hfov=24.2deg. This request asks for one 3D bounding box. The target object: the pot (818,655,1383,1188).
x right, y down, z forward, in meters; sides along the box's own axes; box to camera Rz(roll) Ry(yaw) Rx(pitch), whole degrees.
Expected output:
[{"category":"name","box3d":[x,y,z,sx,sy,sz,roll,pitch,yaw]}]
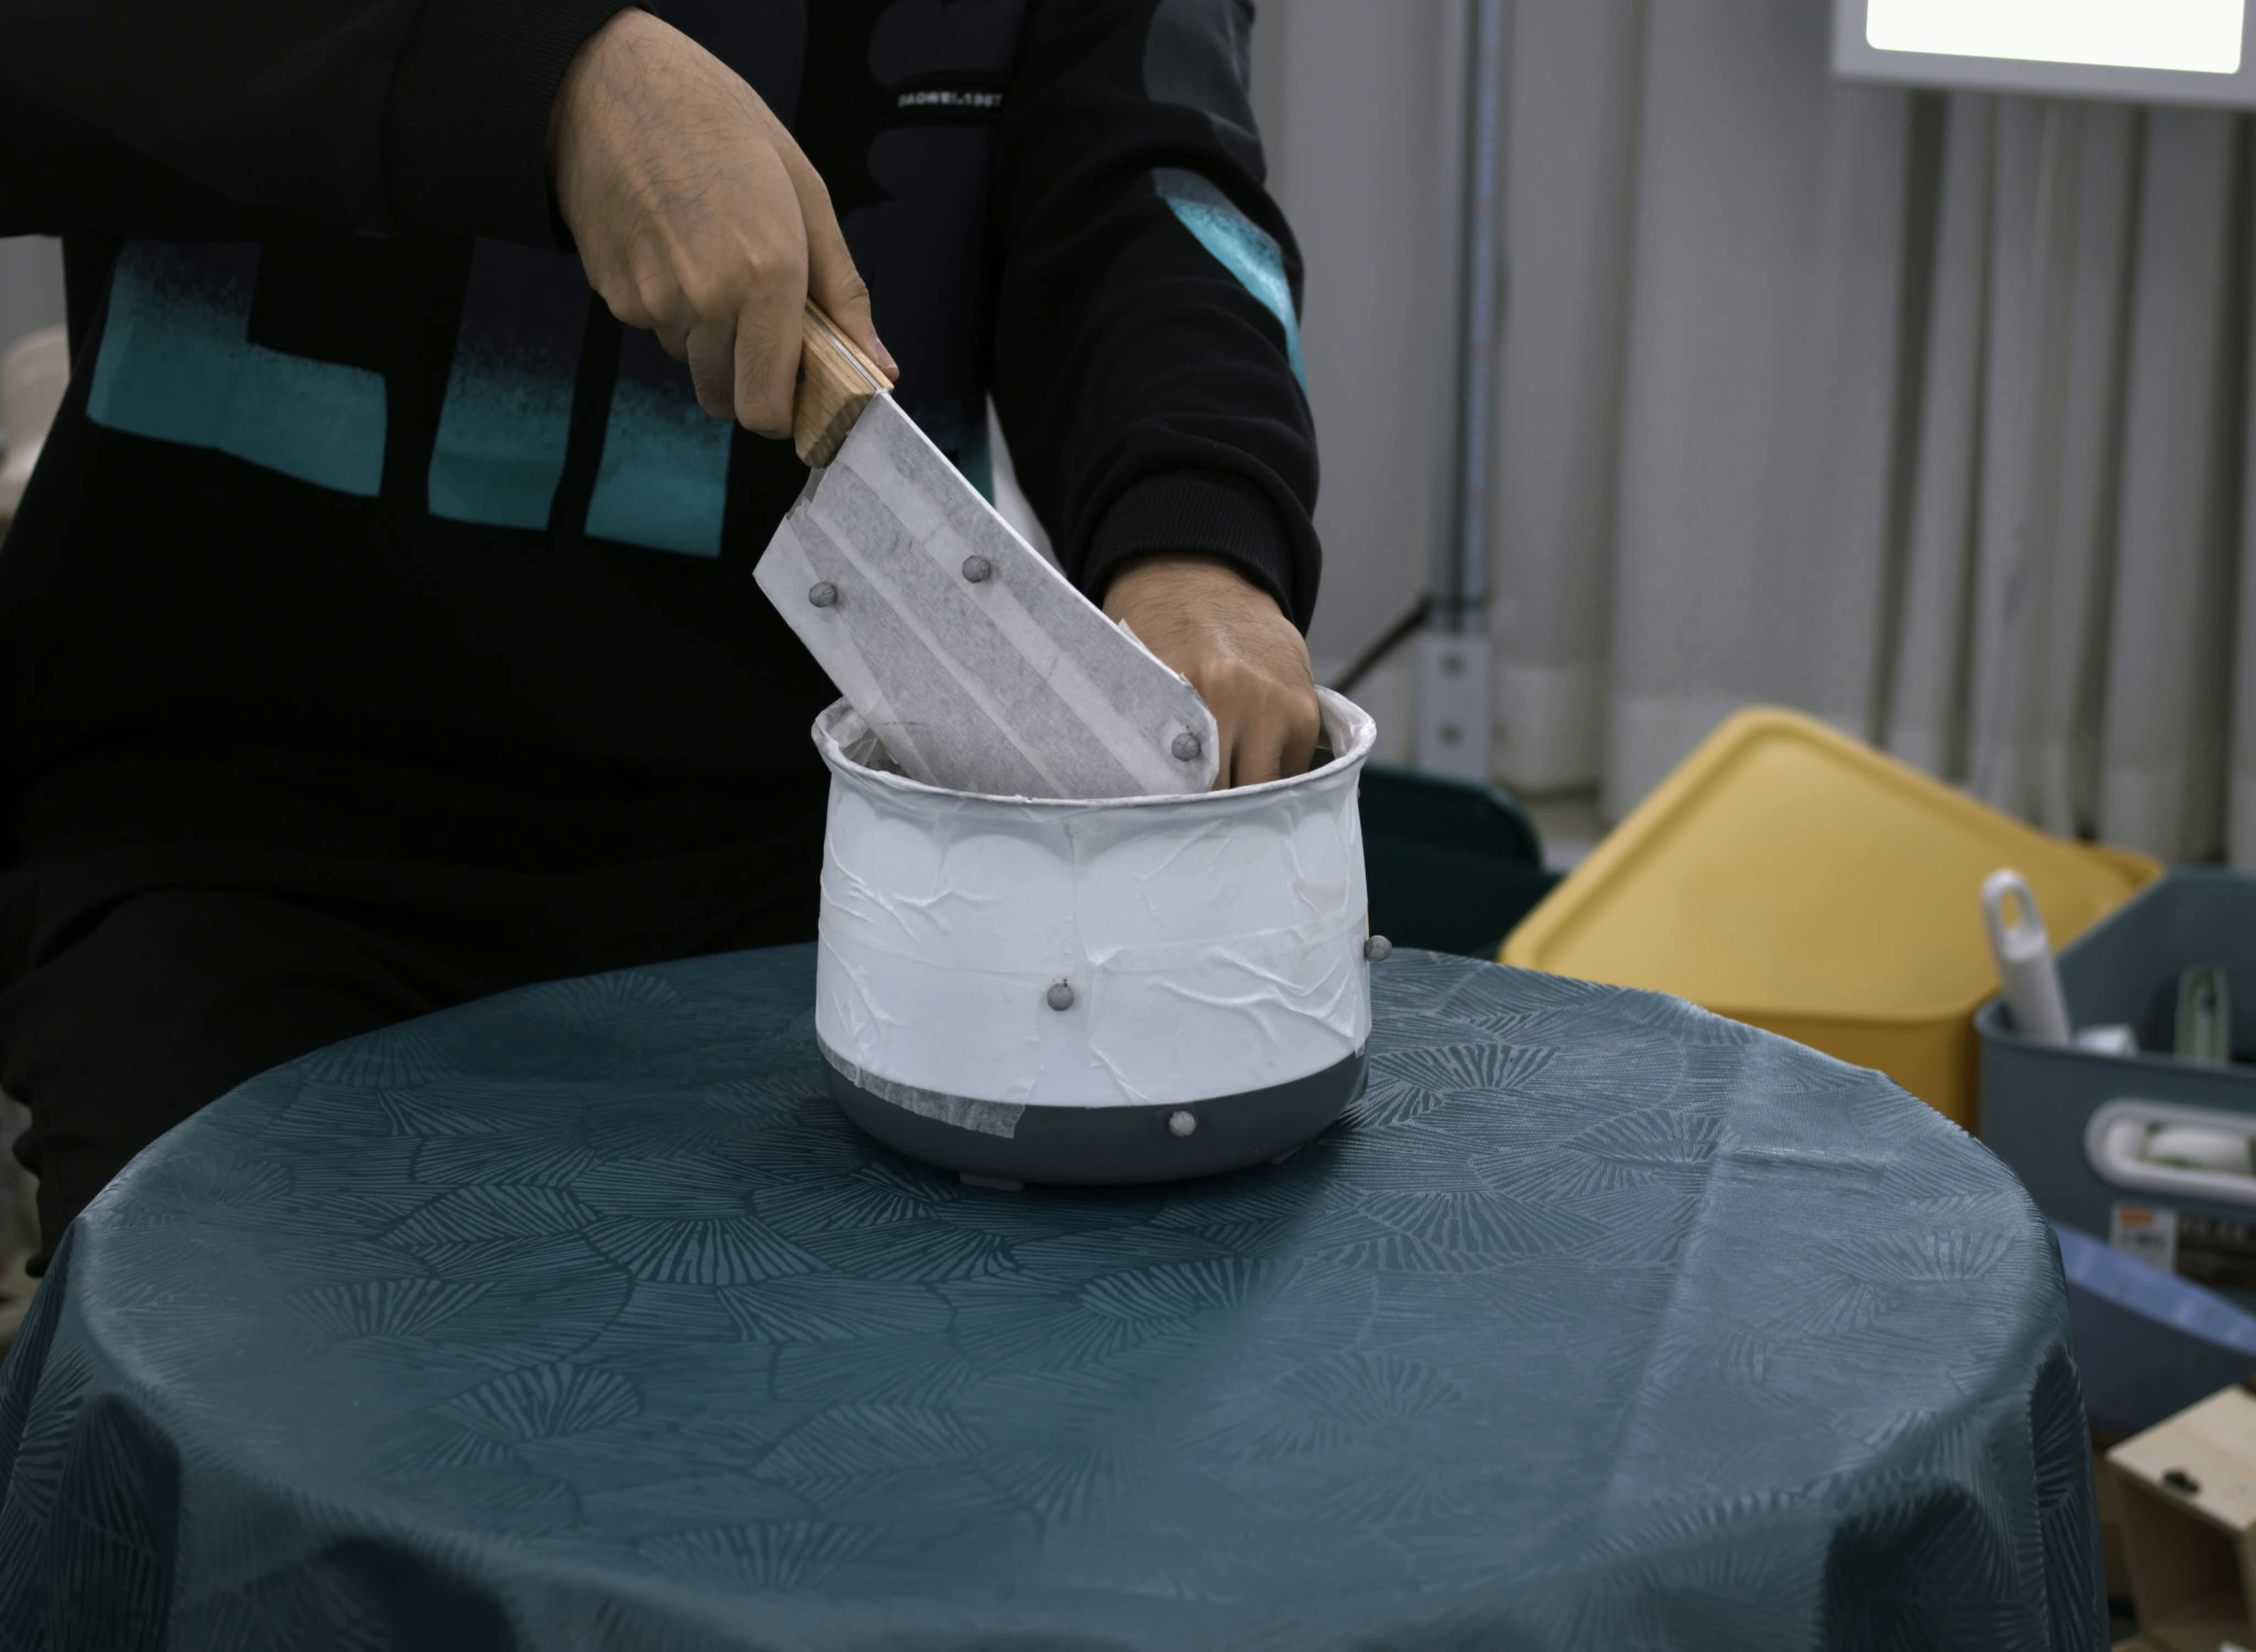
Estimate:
[{"category":"pot","box3d":[-0.019,0.021,1.688,0.179,0.138,0.231,-4,18,-19]}]

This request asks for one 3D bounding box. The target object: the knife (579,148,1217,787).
[{"category":"knife","box3d":[-0.077,-0.097,1.649,0.022,0.114,0.313,-13,58,-50]}]
